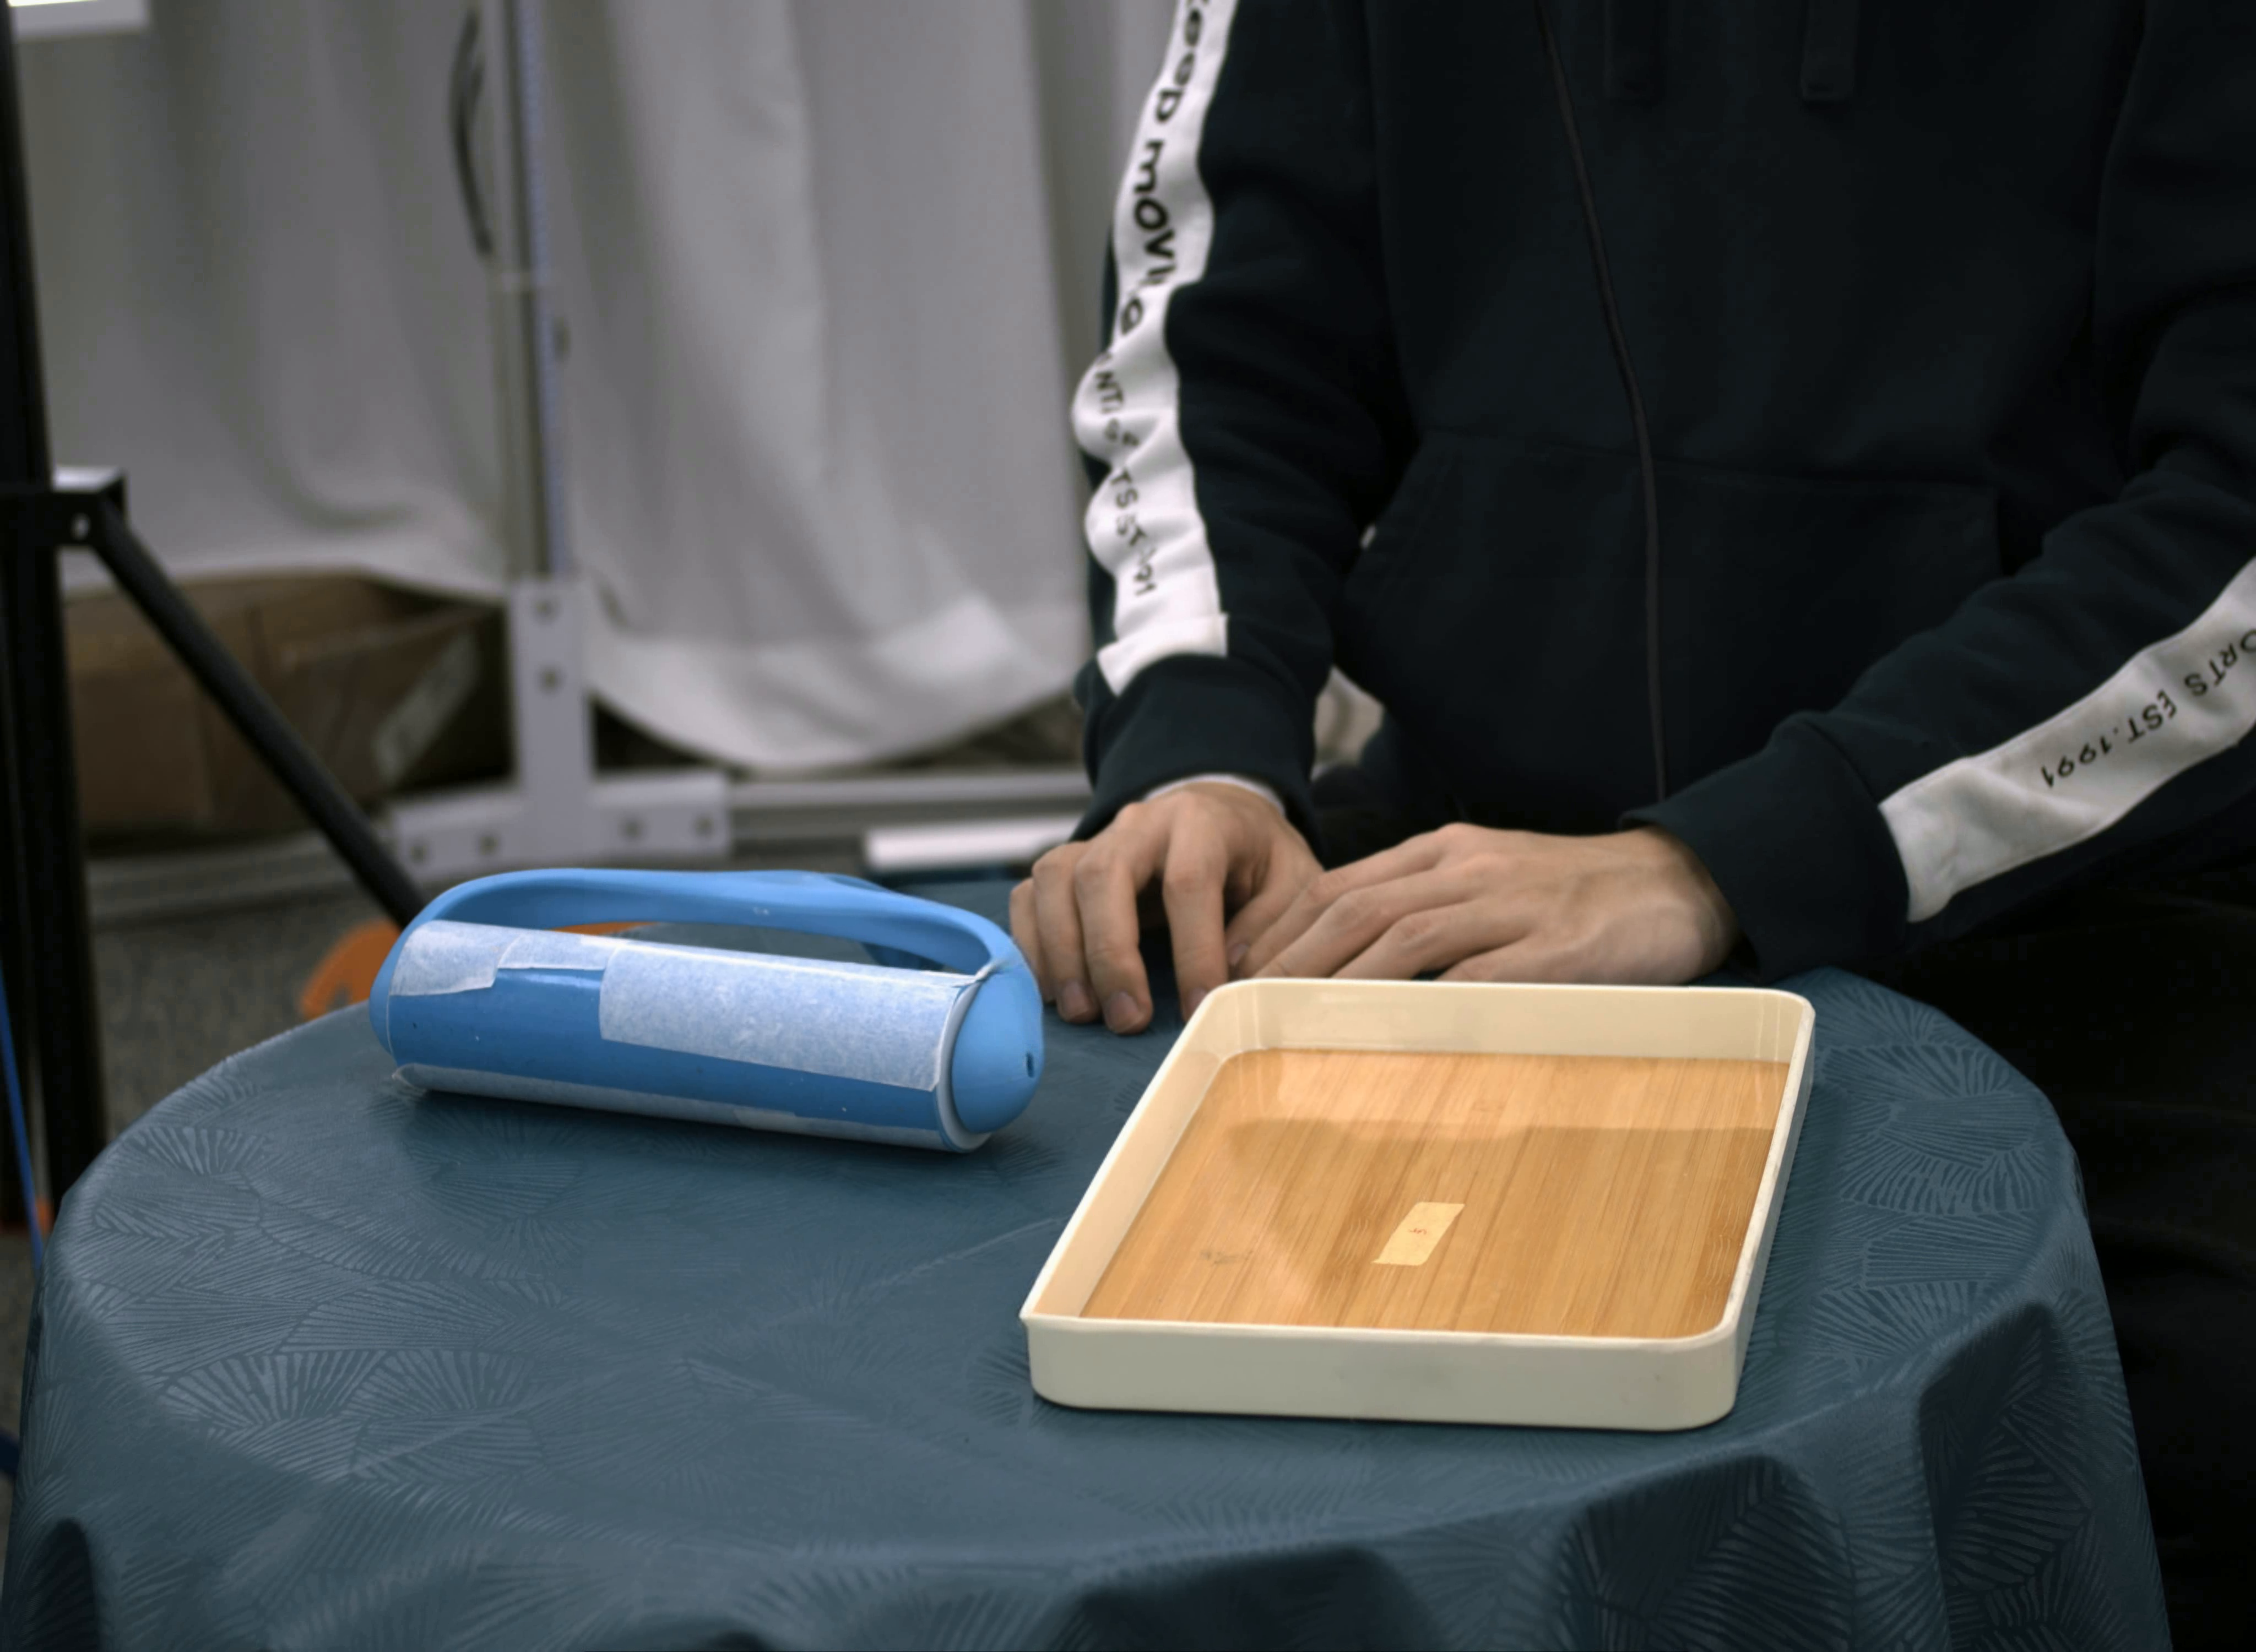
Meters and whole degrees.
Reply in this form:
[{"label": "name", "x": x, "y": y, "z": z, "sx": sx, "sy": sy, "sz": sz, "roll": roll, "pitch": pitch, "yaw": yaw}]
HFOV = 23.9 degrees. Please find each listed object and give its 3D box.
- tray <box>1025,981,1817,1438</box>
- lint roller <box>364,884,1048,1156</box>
[{"label": "tray", "x": 0.092, "y": 0.104, "z": 1.509, "sx": 0.193, "sy": 0.027, "sz": 0.298, "roll": 1, "pitch": 16, "yaw": 13}, {"label": "lint roller", "x": -0.111, "y": 0.049, "z": 1.686, "sx": 0.232, "sy": 0.068, "sz": 0.178, "roll": 2, "pitch": 17, "yaw": 22}]
